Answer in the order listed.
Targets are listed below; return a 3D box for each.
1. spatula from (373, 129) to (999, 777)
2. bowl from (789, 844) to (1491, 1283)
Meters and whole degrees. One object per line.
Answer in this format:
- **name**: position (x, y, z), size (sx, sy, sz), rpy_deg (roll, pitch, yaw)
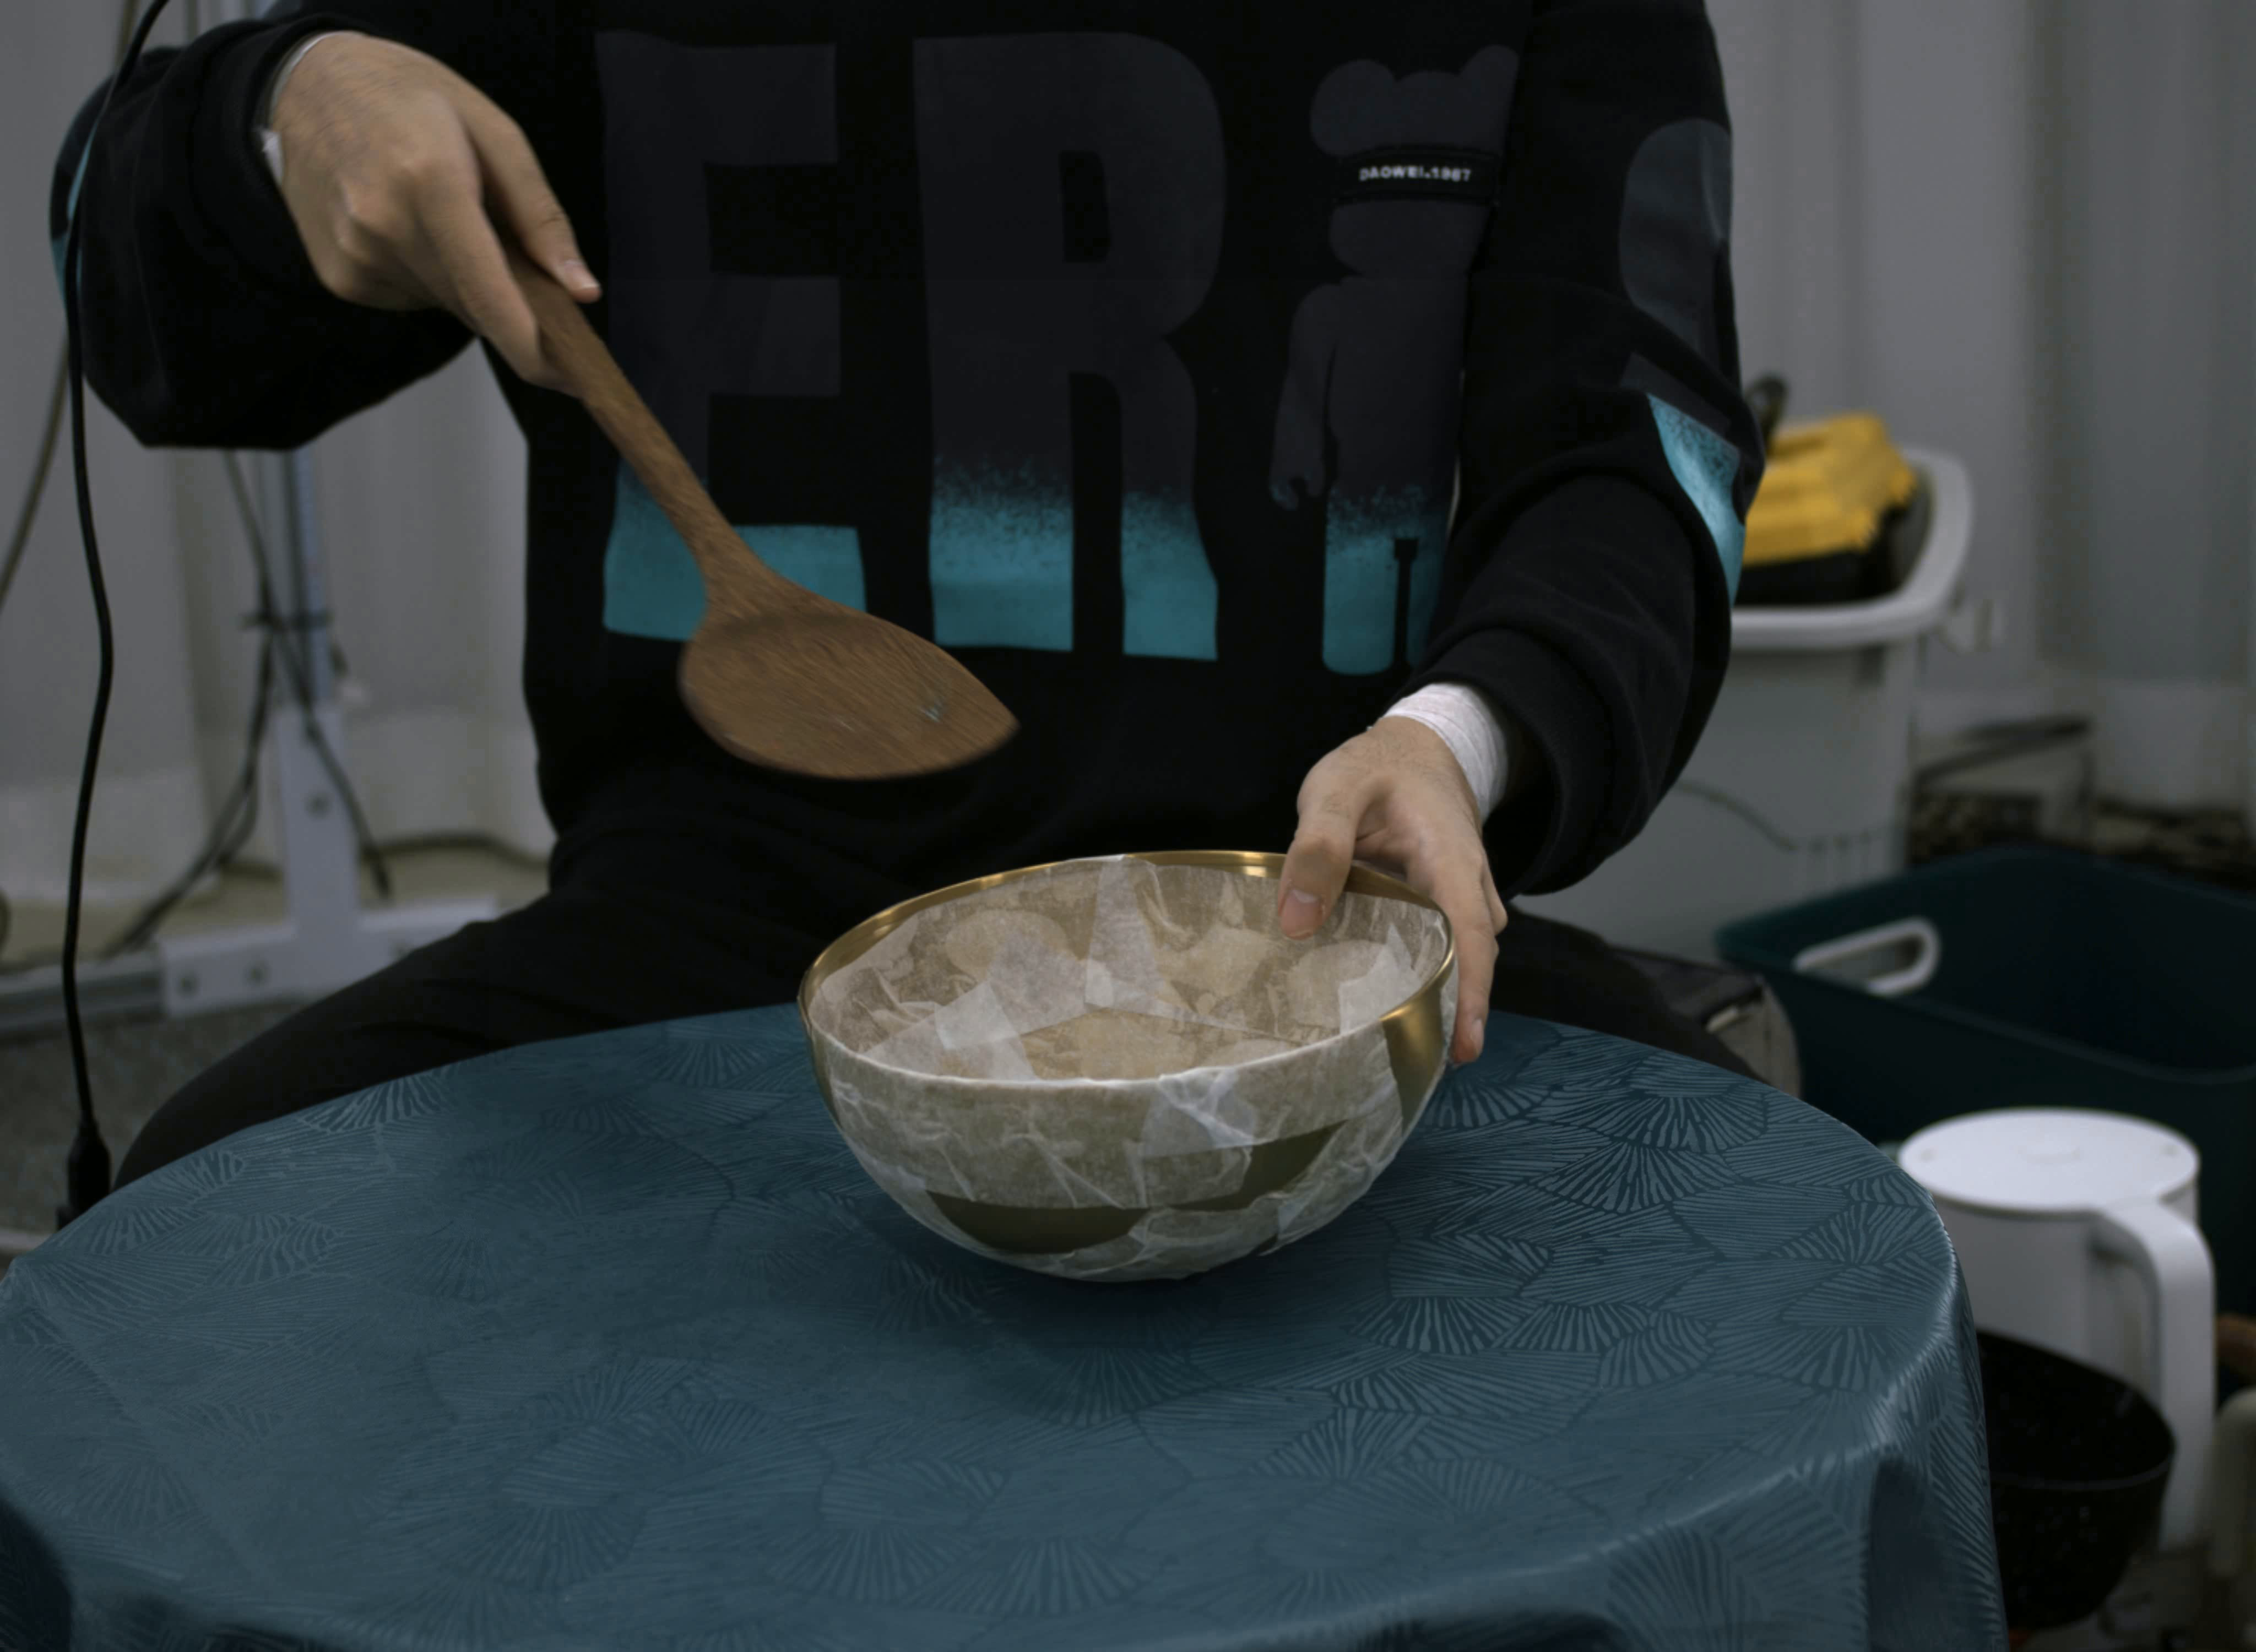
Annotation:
- **spatula**: position (-0.162, -0.128, 1.758), size (0.095, 0.015, 0.391), rpy_deg (-9, 40, -29)
- **bowl**: position (0.007, 0.081, 1.653), size (0.214, 0.094, 0.216), rpy_deg (-6, 17, 1)
